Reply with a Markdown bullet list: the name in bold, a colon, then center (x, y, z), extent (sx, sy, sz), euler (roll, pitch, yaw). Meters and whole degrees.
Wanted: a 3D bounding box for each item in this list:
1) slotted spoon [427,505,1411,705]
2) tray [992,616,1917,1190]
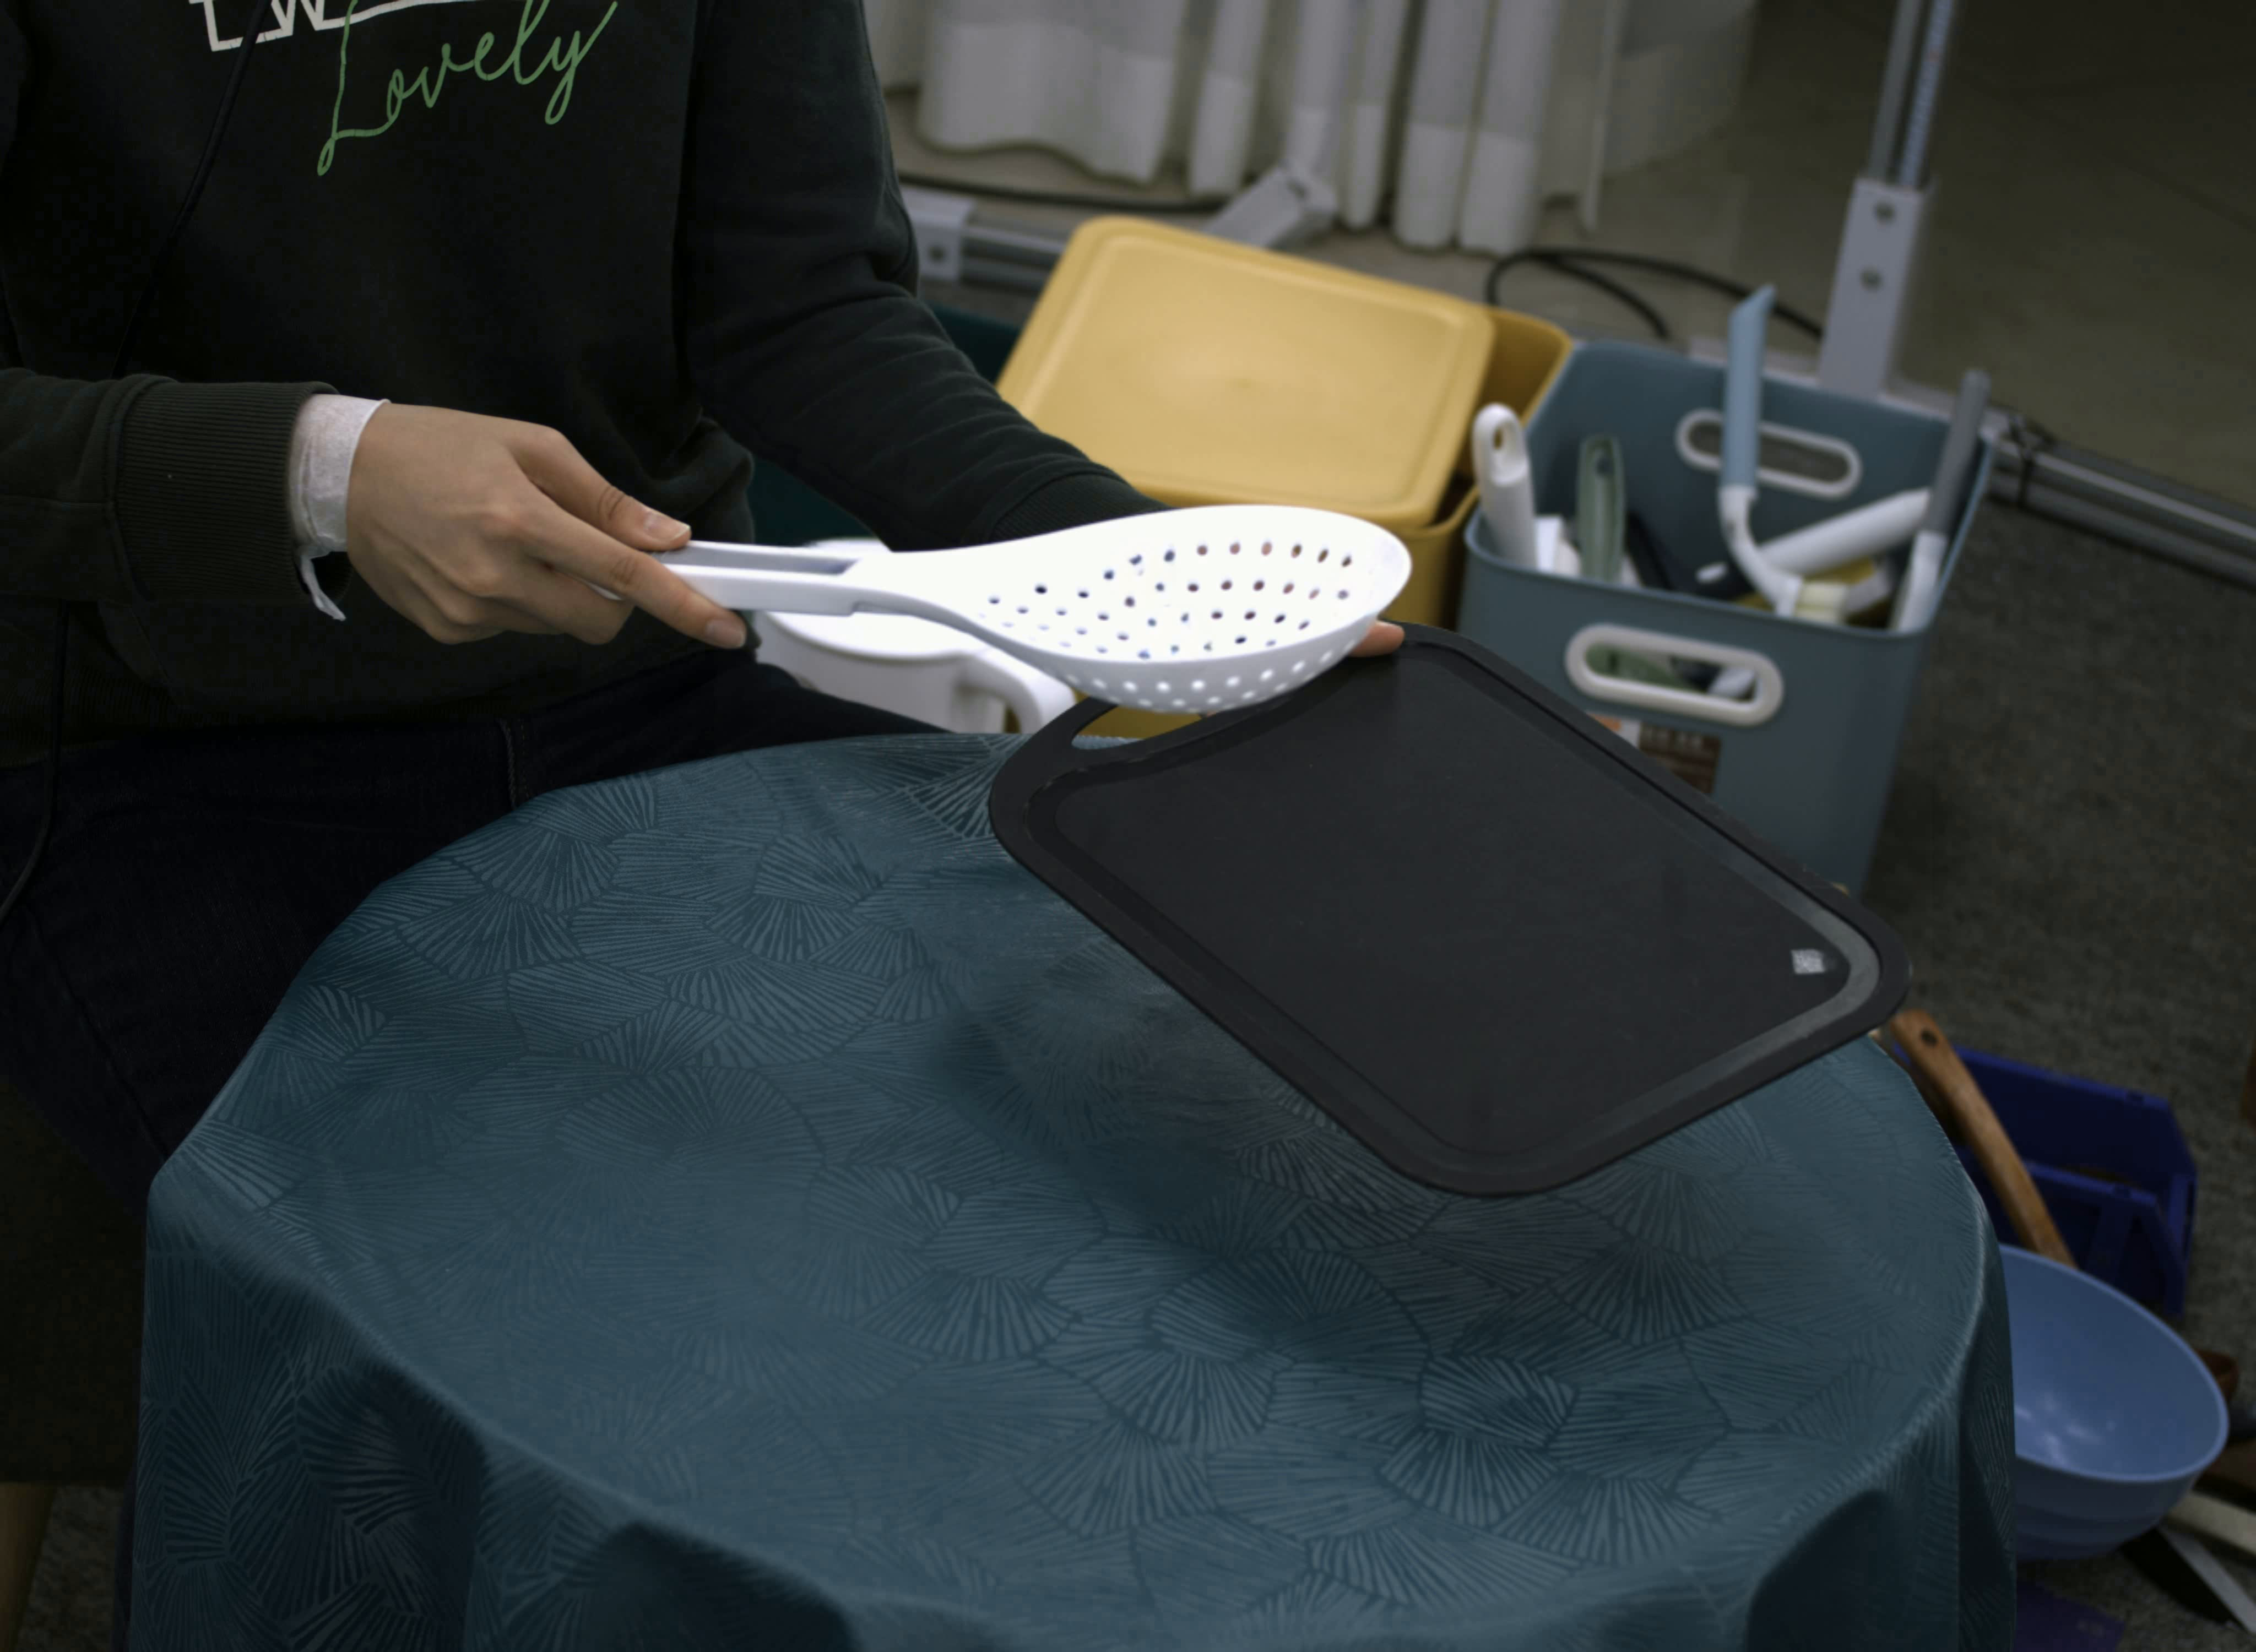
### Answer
- **slotted spoon**: center (-0.075, -0.081, 1.747), extent (0.351, 0.045, 0.136), euler (9, 25, 22)
- **tray**: center (0.101, 0.015, 1.823), extent (0.210, 0.010, 0.328), euler (-24, 40, -26)
